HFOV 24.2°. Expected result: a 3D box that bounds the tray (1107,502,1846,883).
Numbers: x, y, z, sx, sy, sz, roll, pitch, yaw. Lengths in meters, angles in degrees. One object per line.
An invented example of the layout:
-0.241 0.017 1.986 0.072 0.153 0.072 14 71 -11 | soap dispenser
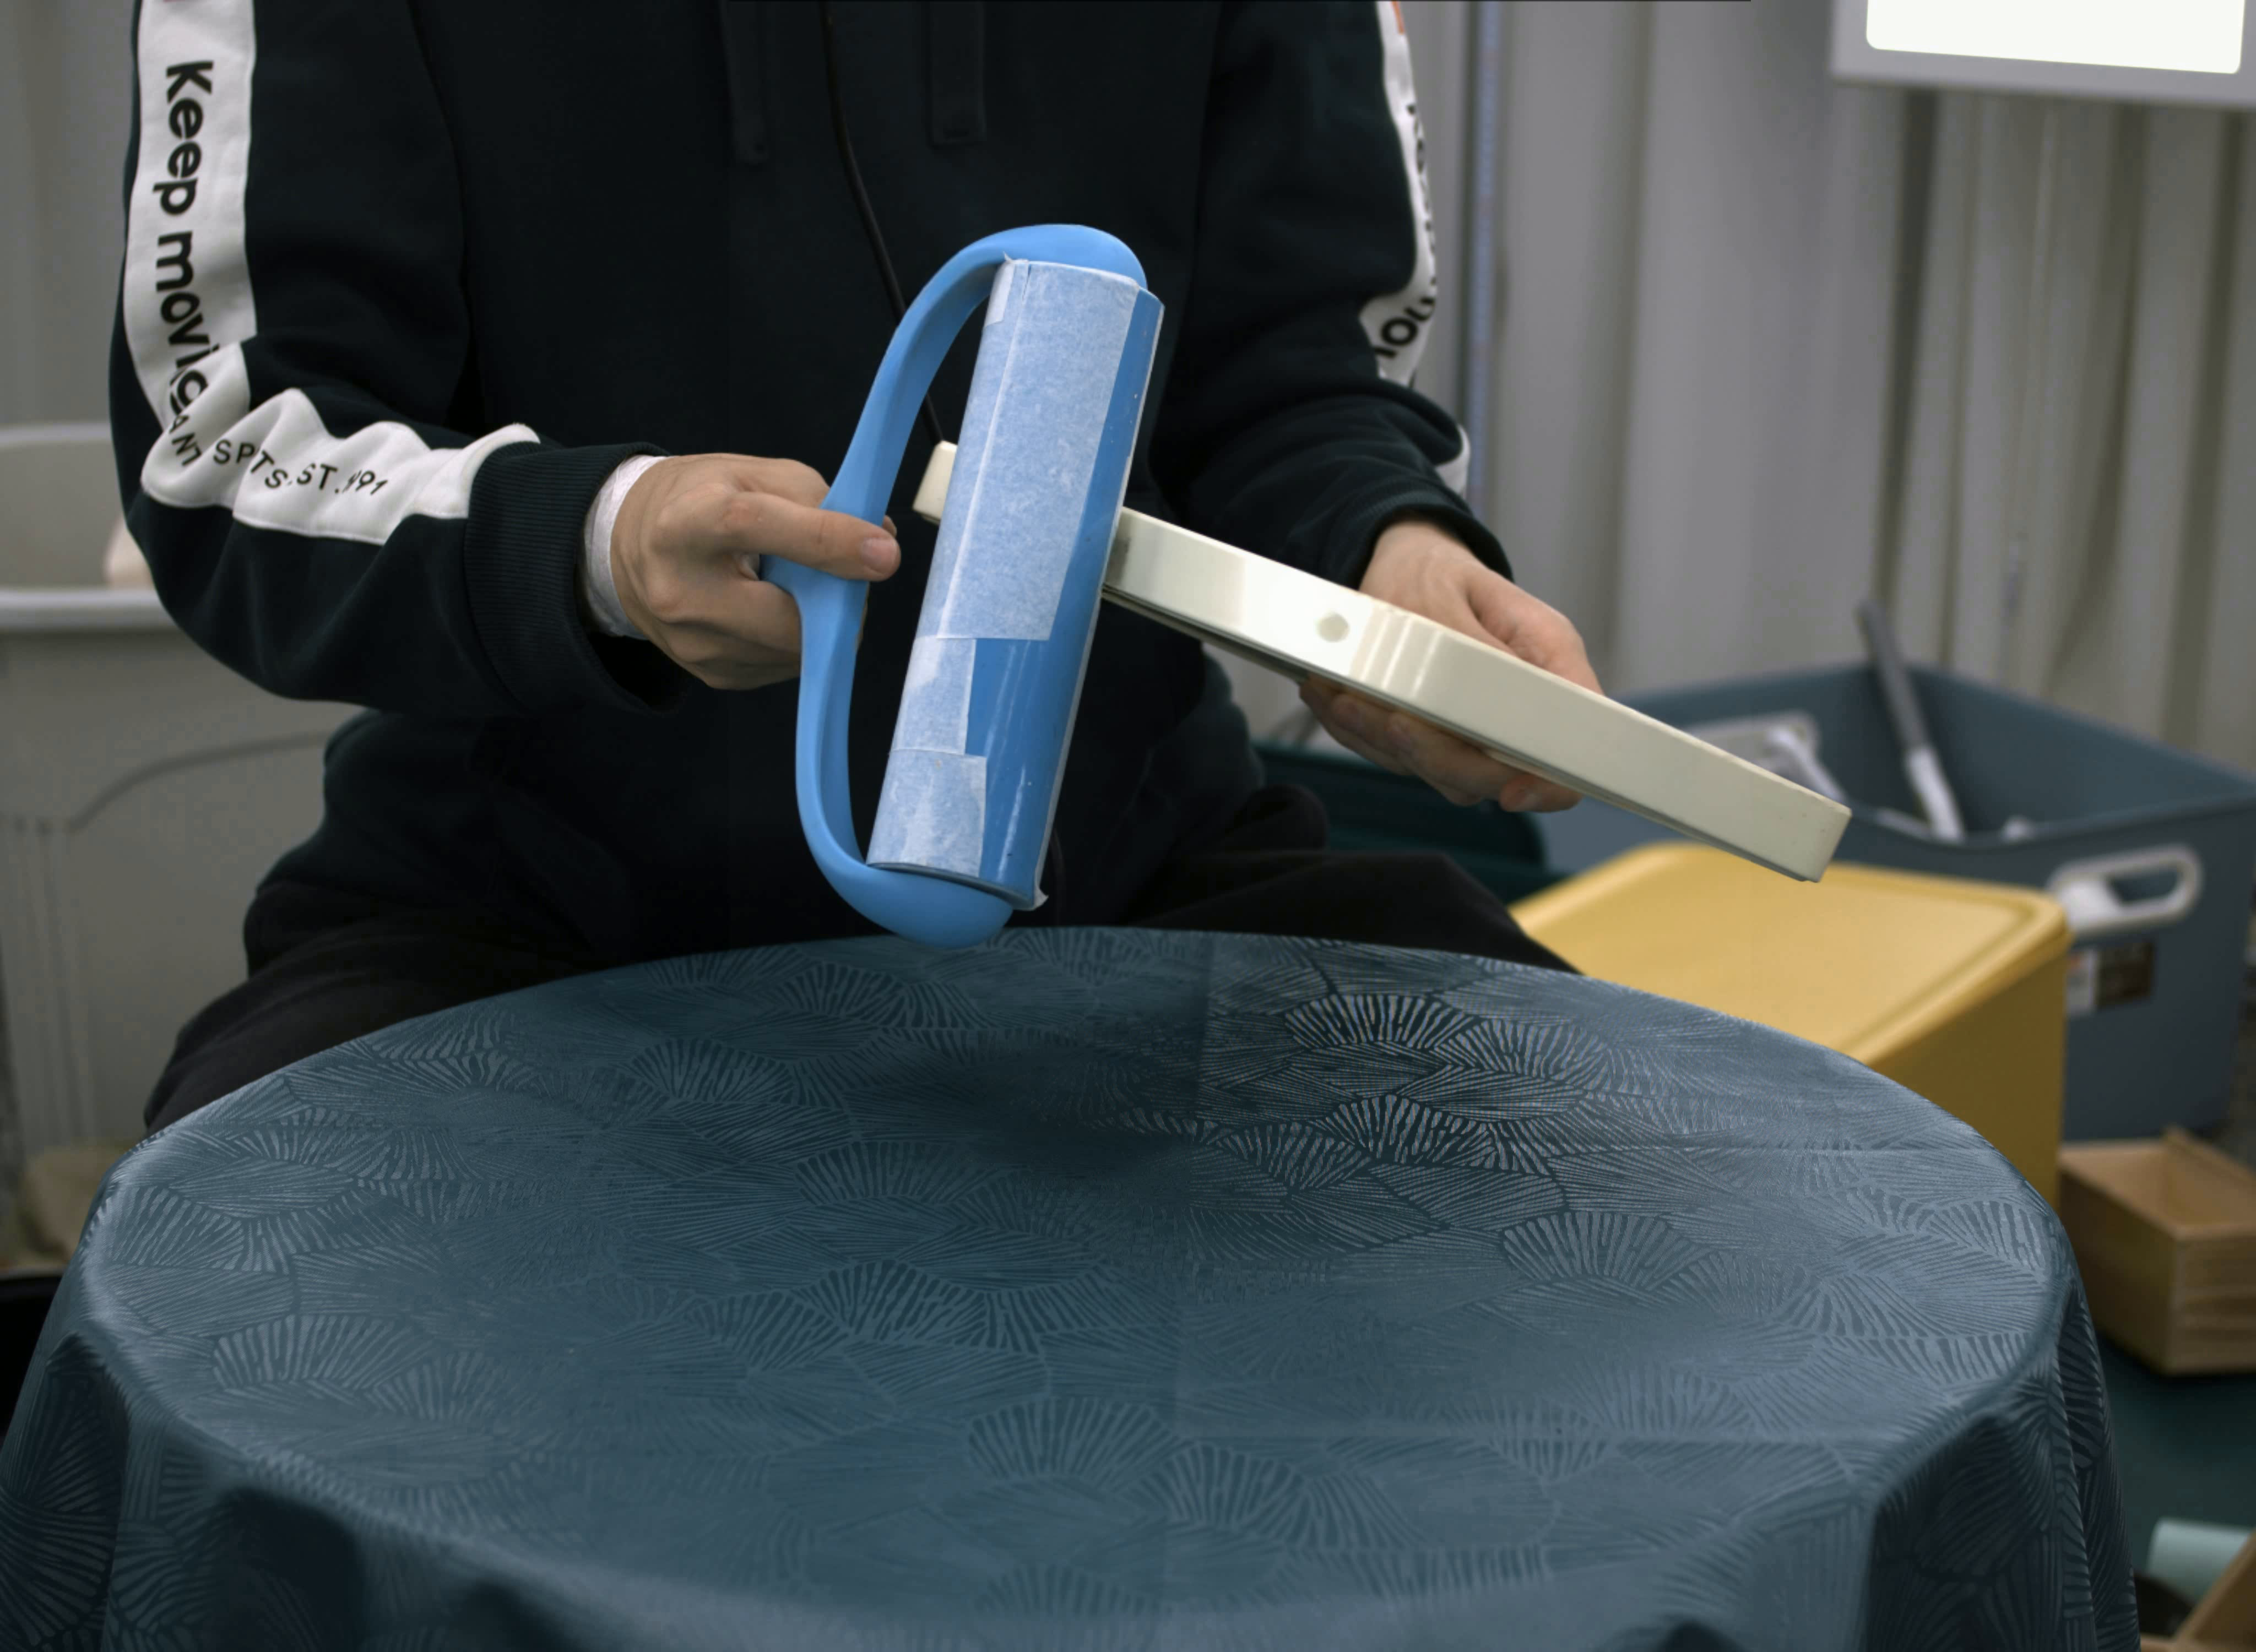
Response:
0.073 -0.054 1.663 0.193 0.027 0.296 23 1 -34 | tray

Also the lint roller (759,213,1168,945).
-0.072 -0.073 1.642 0.068 0.229 0.178 17 -14 -43 | lint roller
